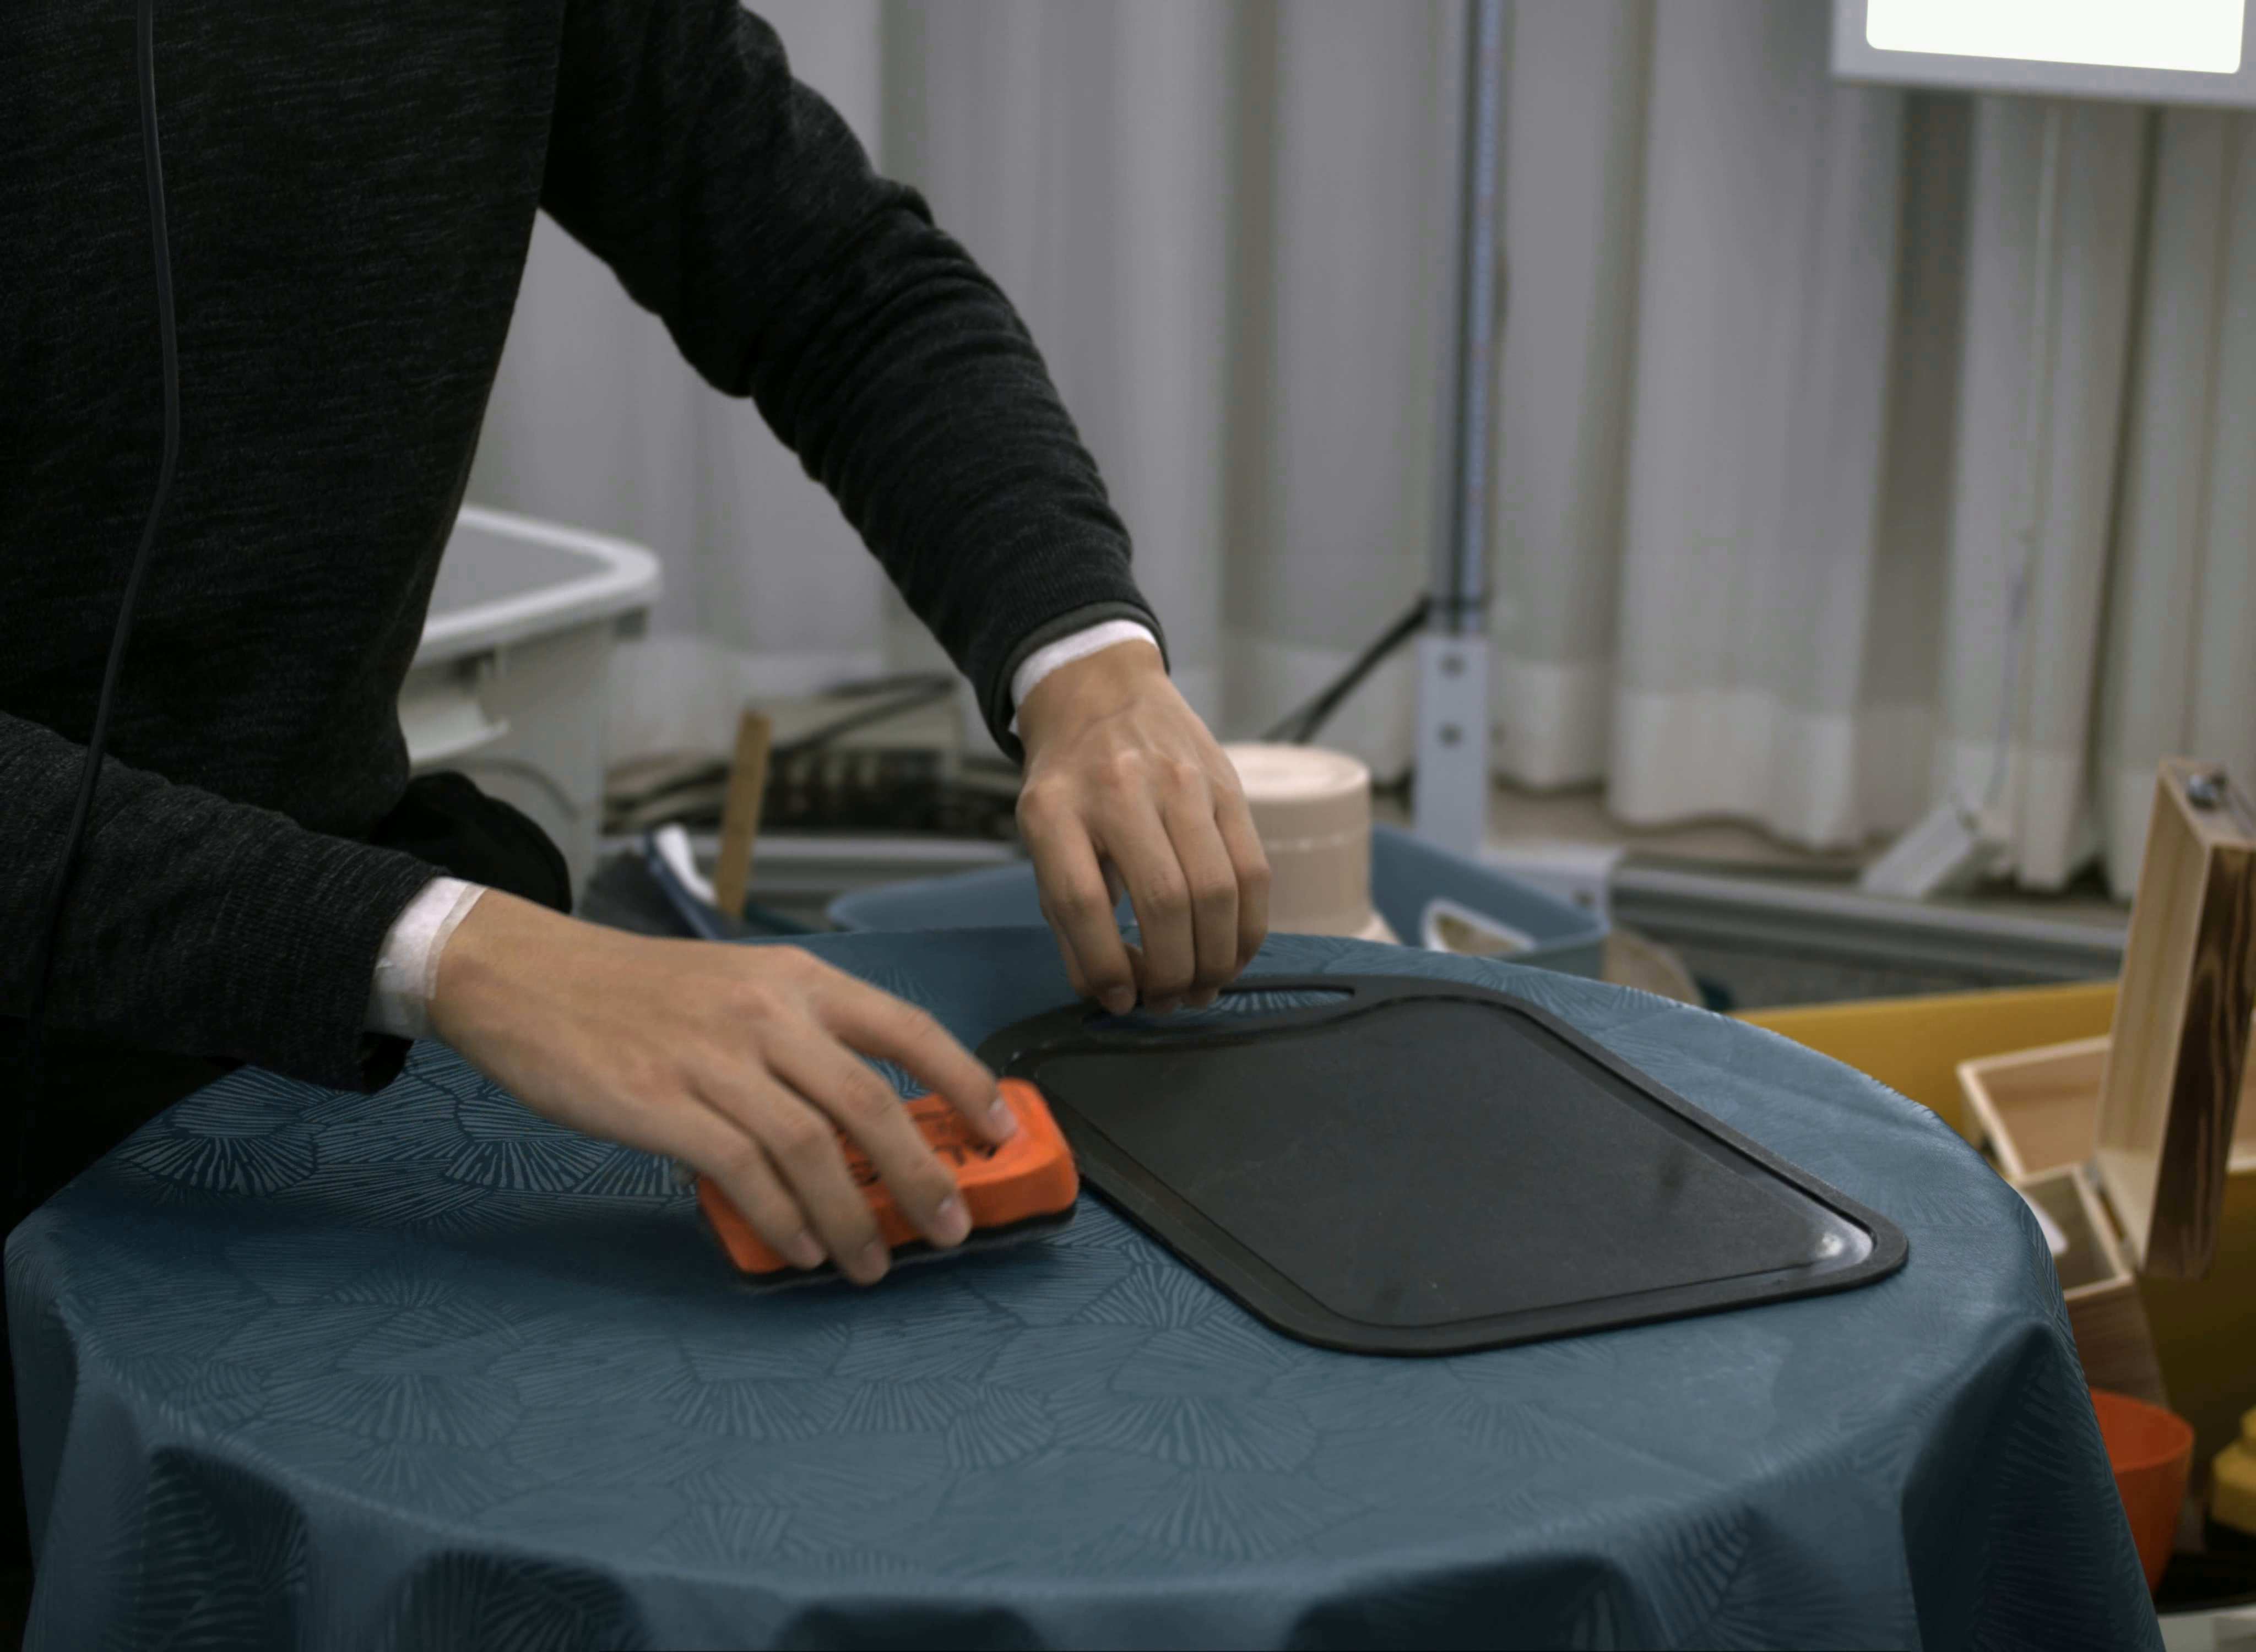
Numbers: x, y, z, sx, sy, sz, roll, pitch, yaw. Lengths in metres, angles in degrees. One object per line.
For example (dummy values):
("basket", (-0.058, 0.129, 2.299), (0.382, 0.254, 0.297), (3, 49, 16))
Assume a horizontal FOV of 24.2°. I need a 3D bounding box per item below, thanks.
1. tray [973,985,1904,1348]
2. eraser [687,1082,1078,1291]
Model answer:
("tray", (0.086, 0.099, 1.653), (0.212, 0.010, 0.321), (-6, 17, -23))
("eraser", (-0.073, 0.106, 1.554), (0.108, 0.023, 0.058), (-12, 23, -15))
